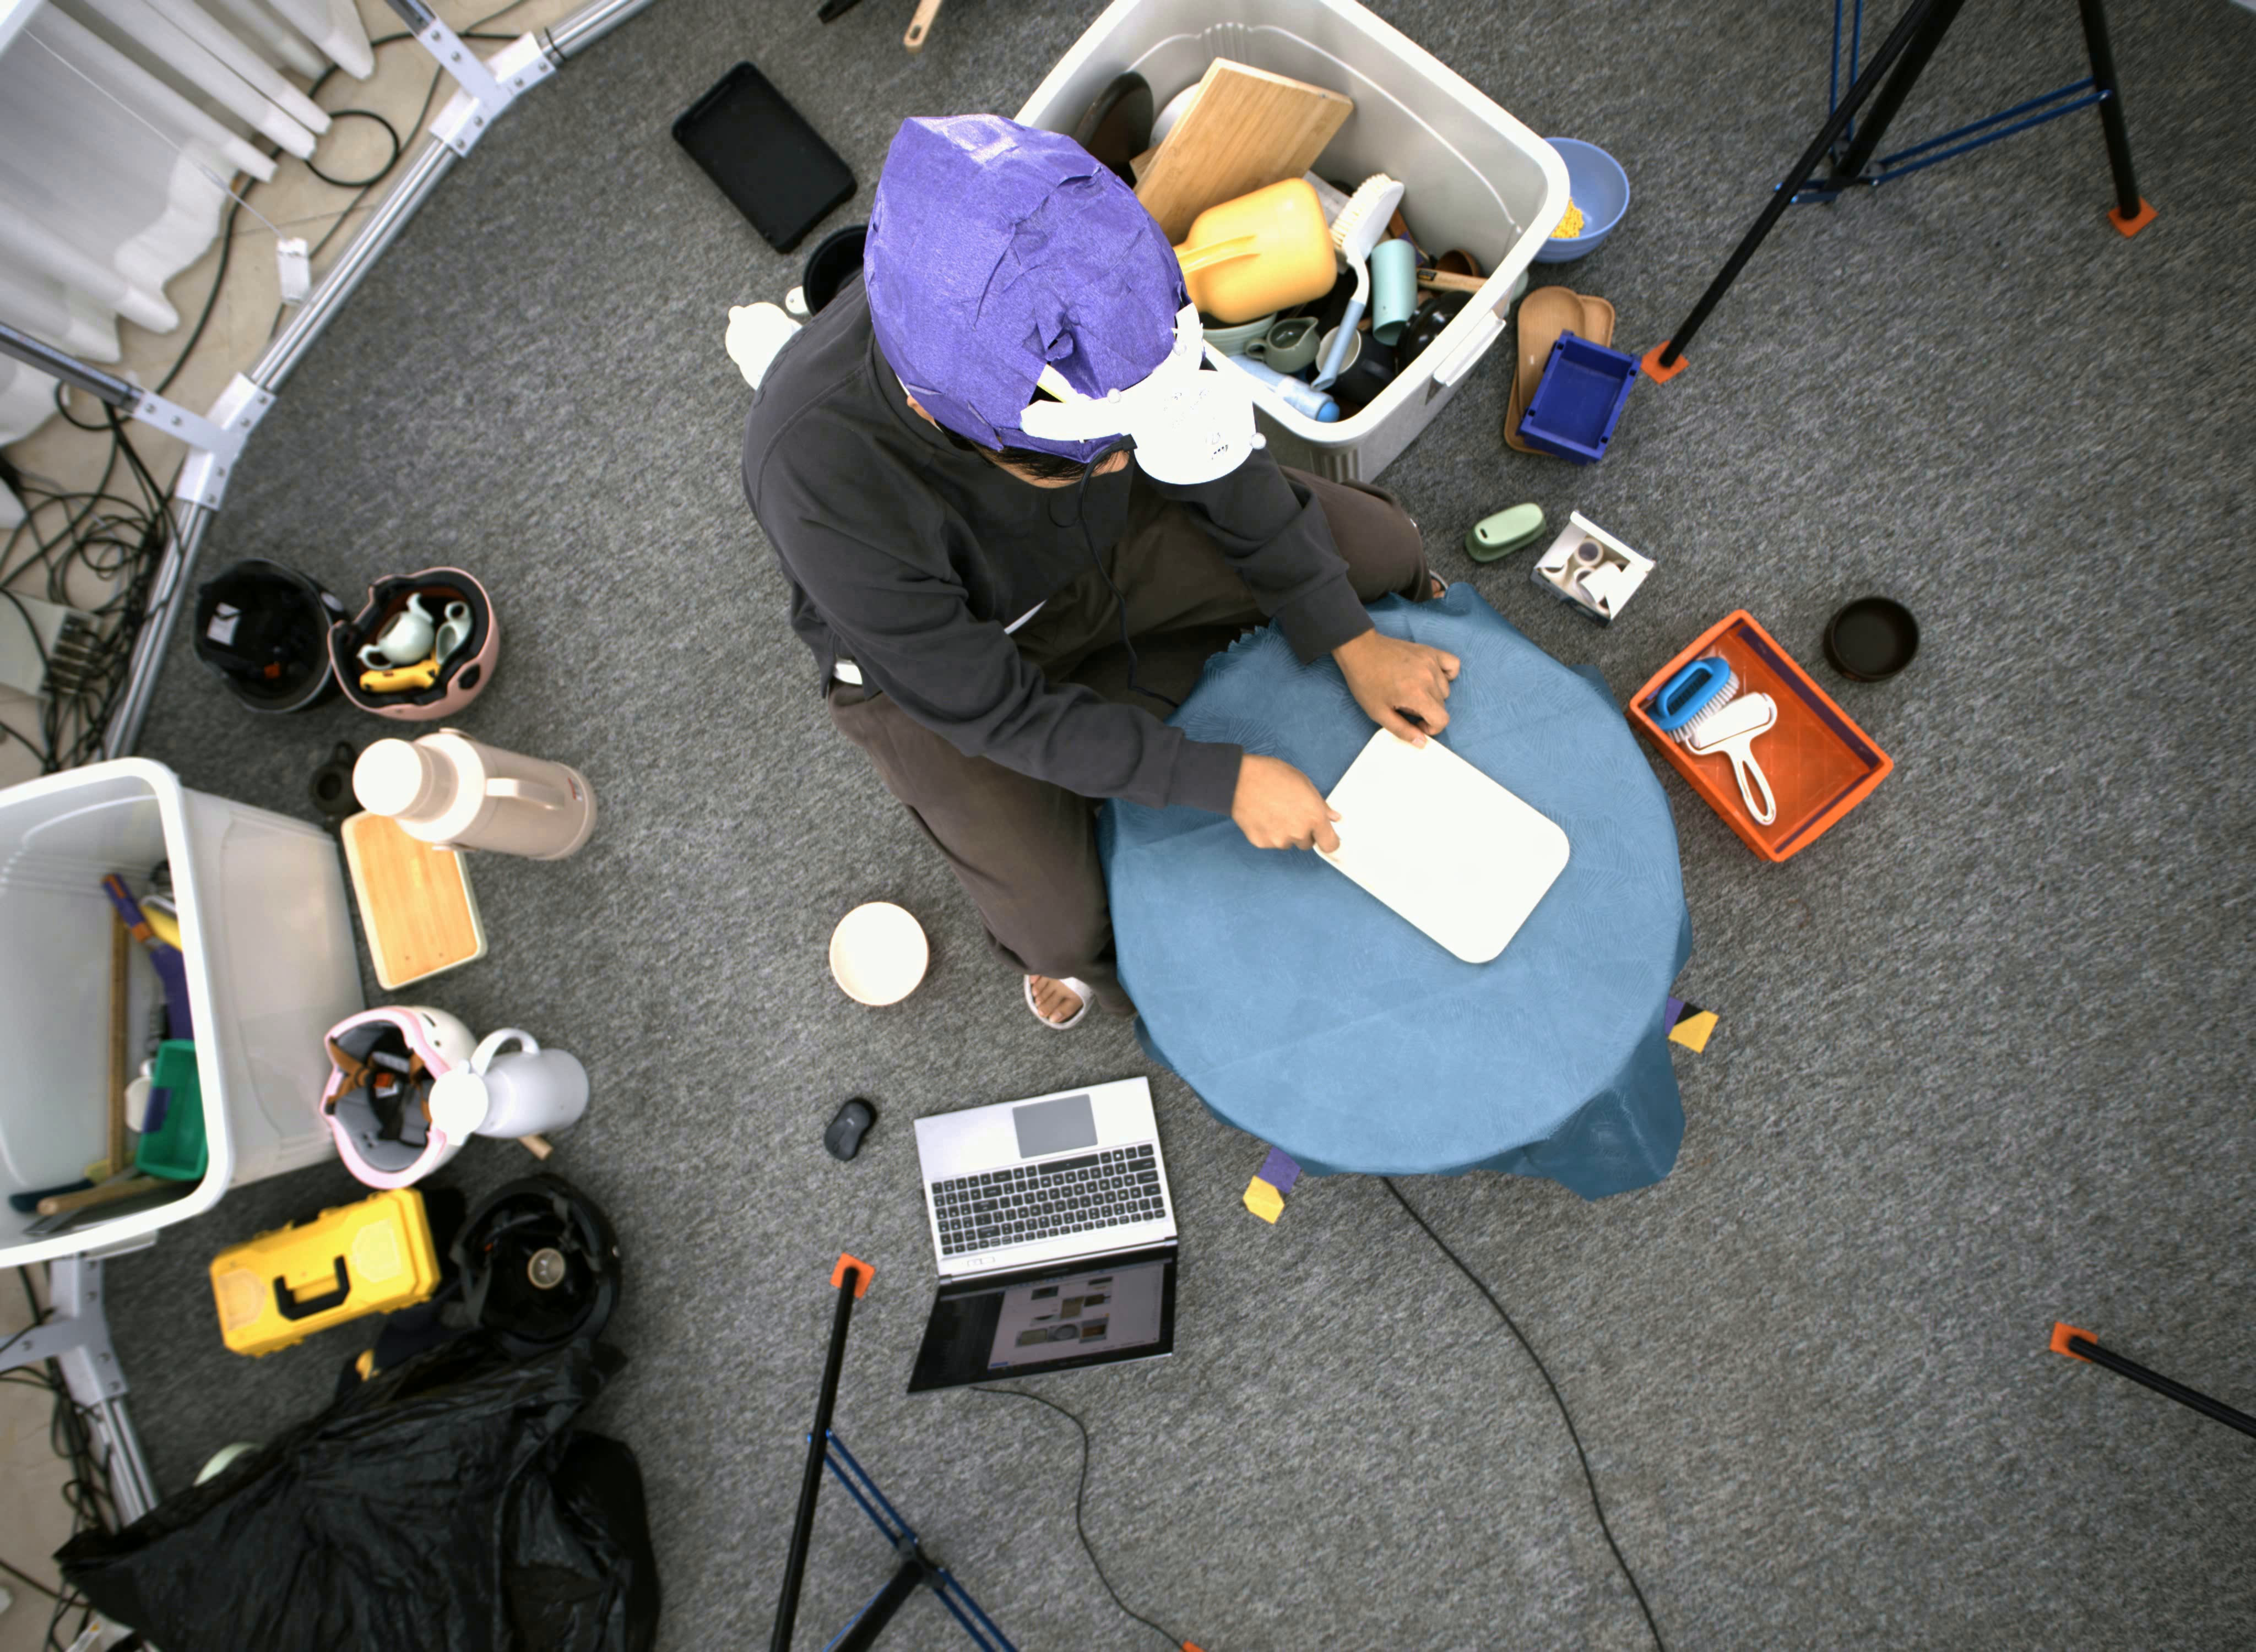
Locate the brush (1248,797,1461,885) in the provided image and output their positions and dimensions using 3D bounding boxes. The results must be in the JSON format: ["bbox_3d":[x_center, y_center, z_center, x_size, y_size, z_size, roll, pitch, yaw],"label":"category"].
[{"bbox_3d":[0.233,0.014,1.430,0.229,0.050,0.037,17,86,-4],"label":"brush"}]

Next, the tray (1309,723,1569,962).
[{"bbox_3d":[0.324,0.014,1.444,0.239,0.017,0.171,37,93,11],"label":"tray"}]
